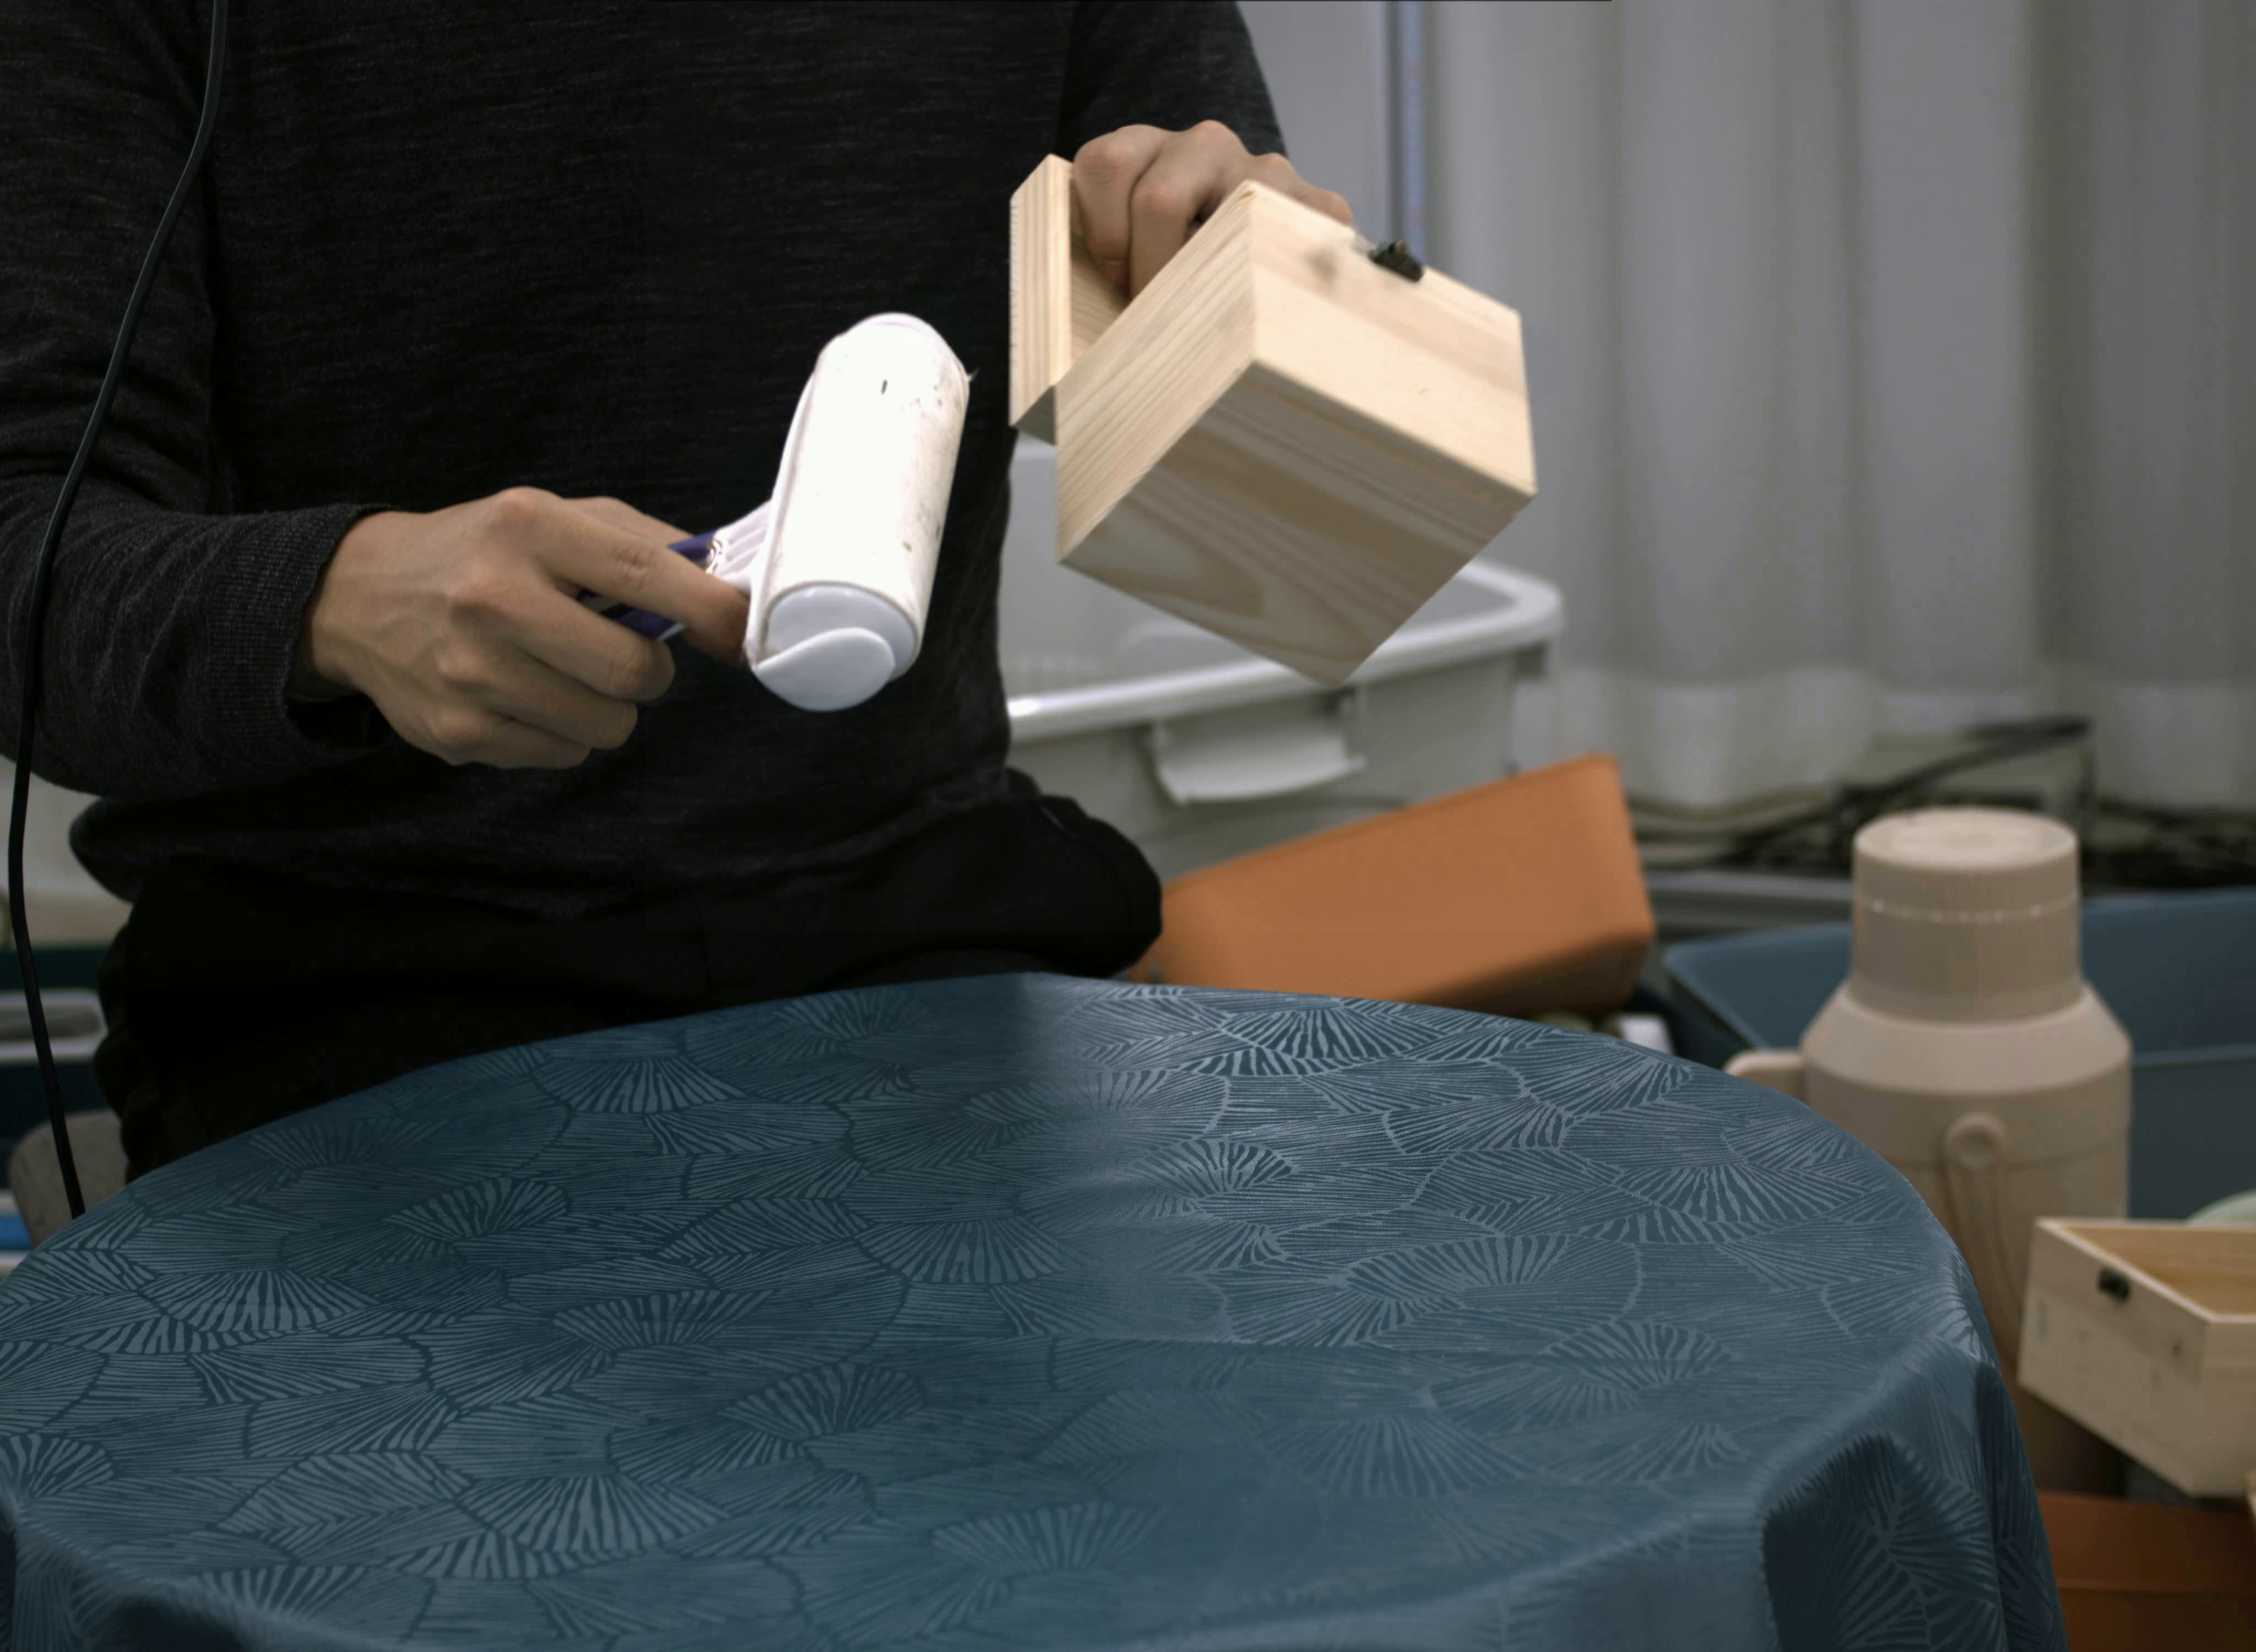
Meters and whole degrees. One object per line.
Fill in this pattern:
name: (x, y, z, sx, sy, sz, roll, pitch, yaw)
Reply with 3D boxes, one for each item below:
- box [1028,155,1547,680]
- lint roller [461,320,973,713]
box: (0.046, -0.152, 1.664, 0.101, 0.133, 0.187, 24, 41, -25)
lint roller: (-0.131, -0.078, 1.613, 0.180, 0.049, 0.135, -12, 47, 27)
